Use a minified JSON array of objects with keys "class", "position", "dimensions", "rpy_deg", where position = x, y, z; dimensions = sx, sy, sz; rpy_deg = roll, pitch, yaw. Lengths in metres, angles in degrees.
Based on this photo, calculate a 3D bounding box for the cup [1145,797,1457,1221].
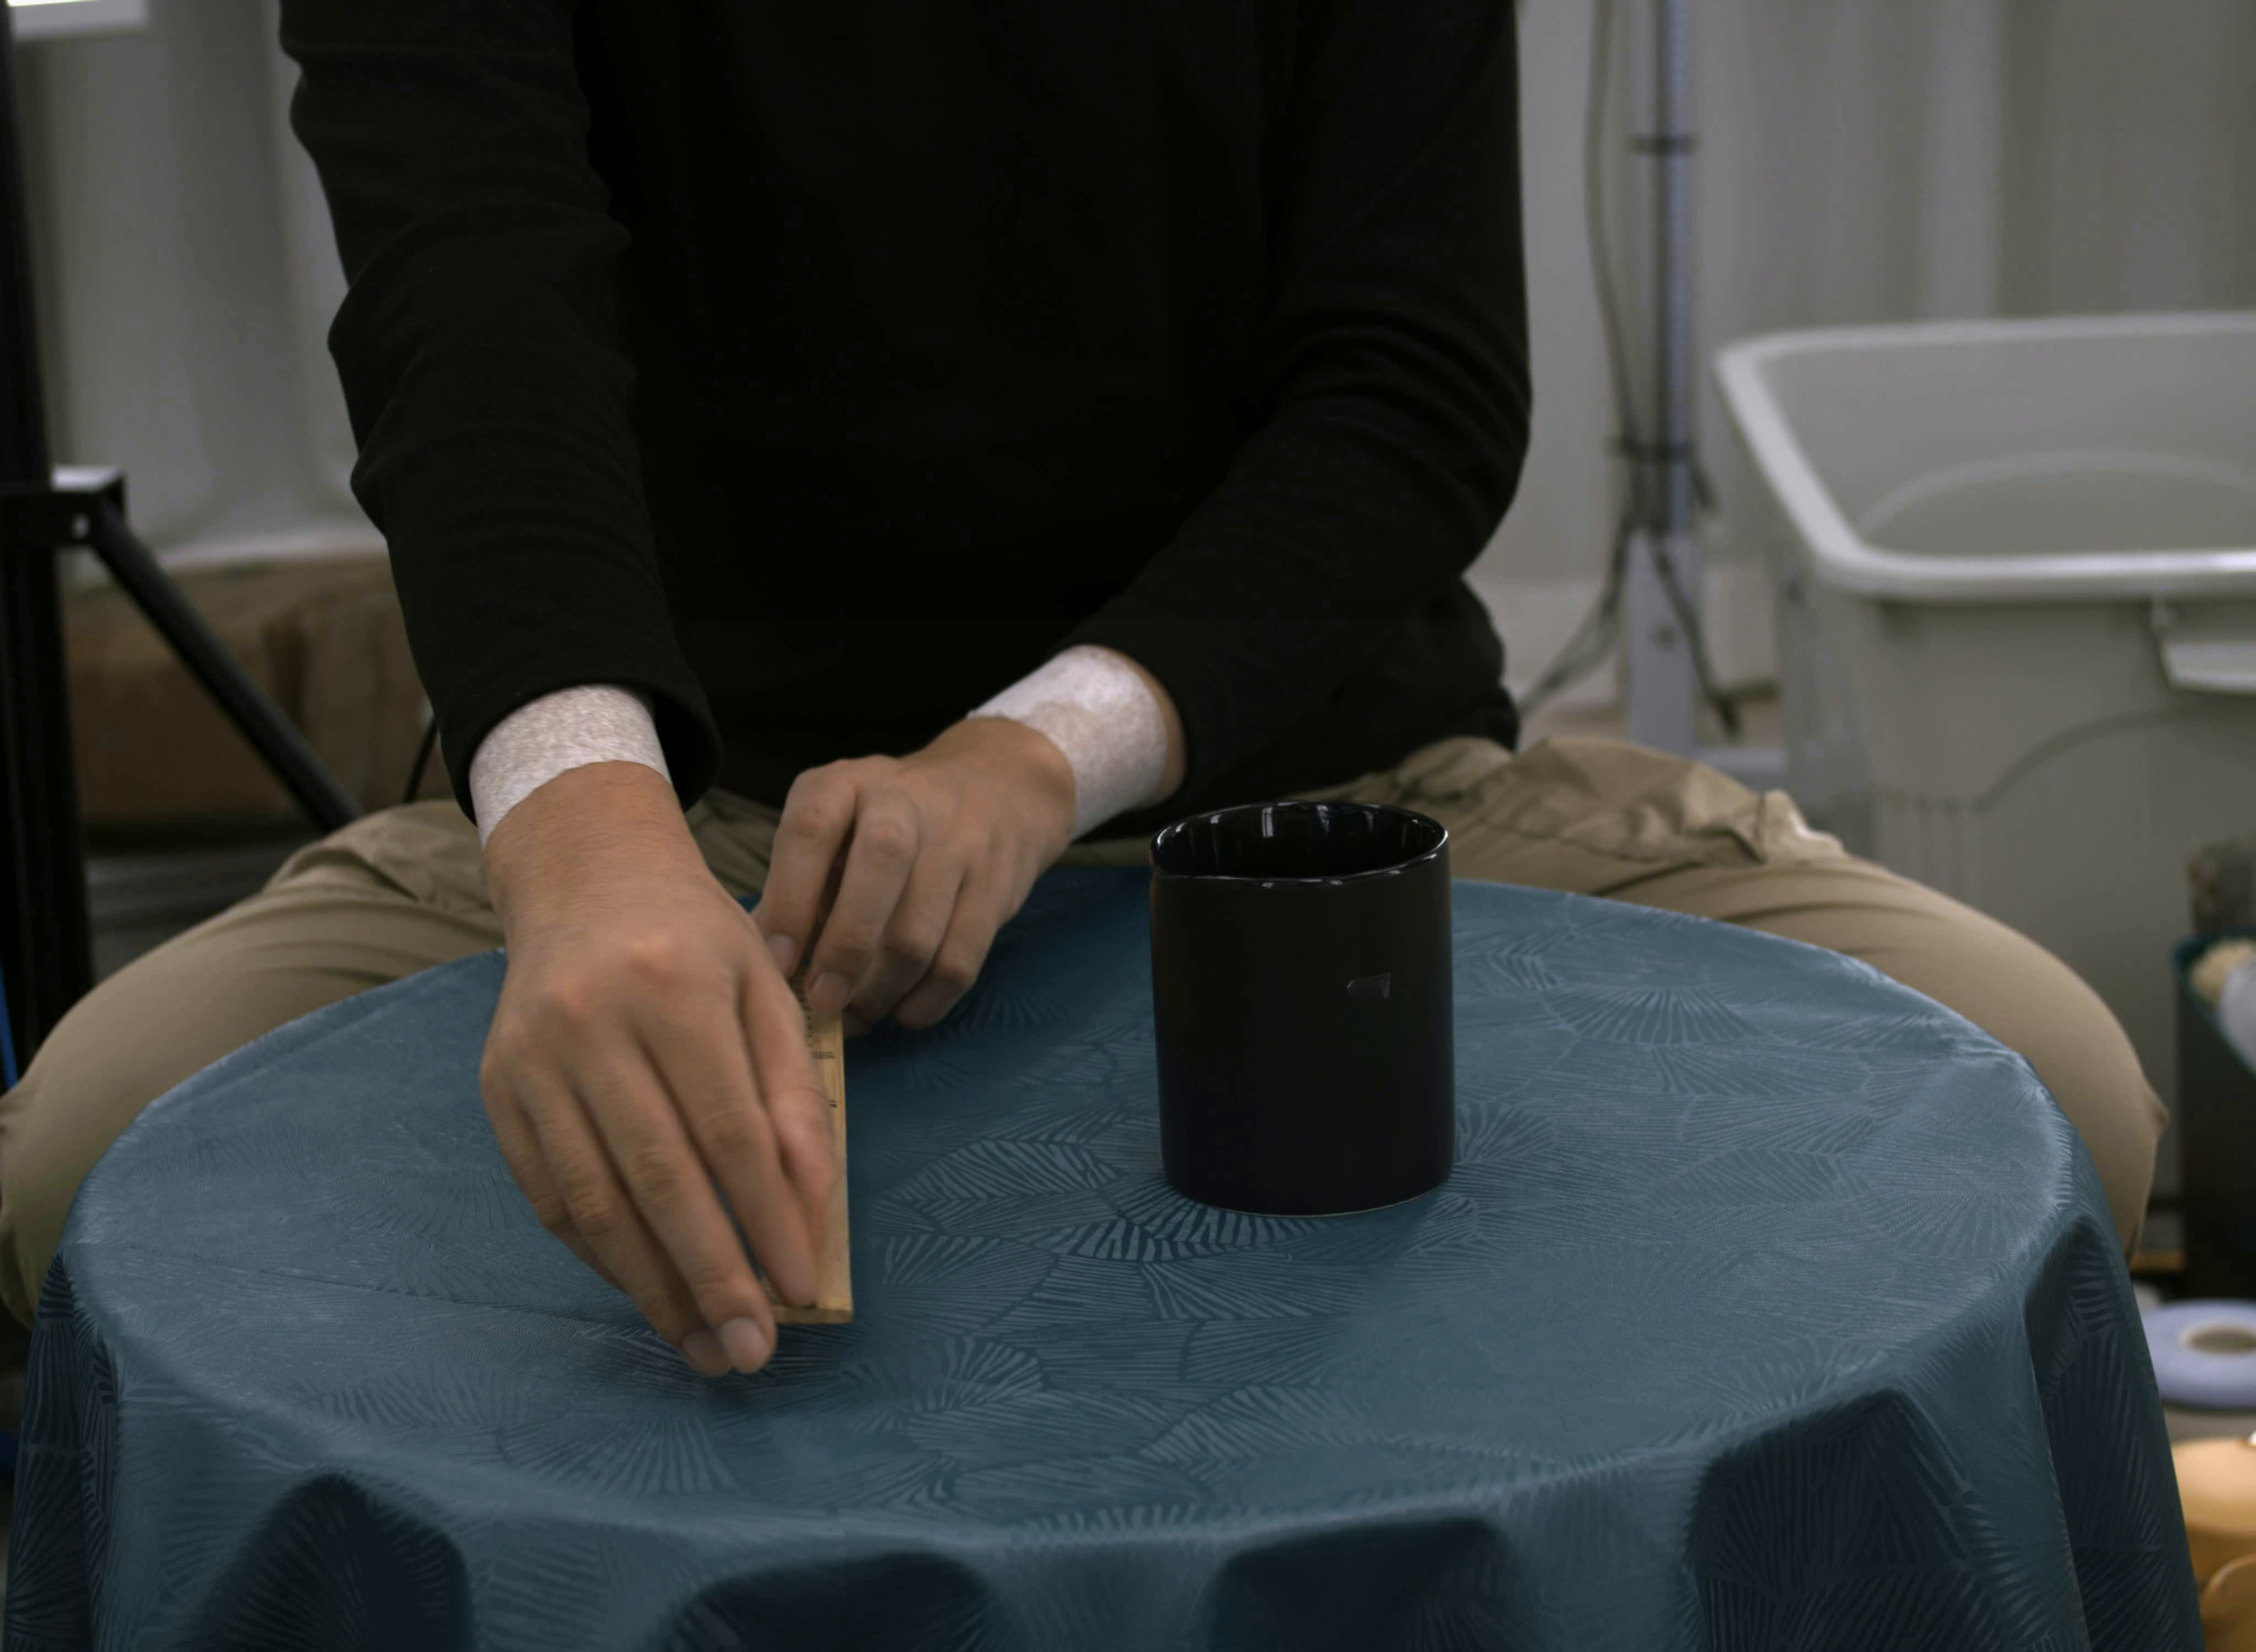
[{"class":"cup","position":[0.049,0.049,1.573],"dimensions":[0.088,0.105,0.124],"rpy_deg":[-5,15,-5]}]

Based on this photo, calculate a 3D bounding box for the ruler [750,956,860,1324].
[{"class":"ruler","position":[-0.094,0.086,1.569],"dimensions":[0.027,0.022,0.333],"rpy_deg":[3,14,-3]}]
